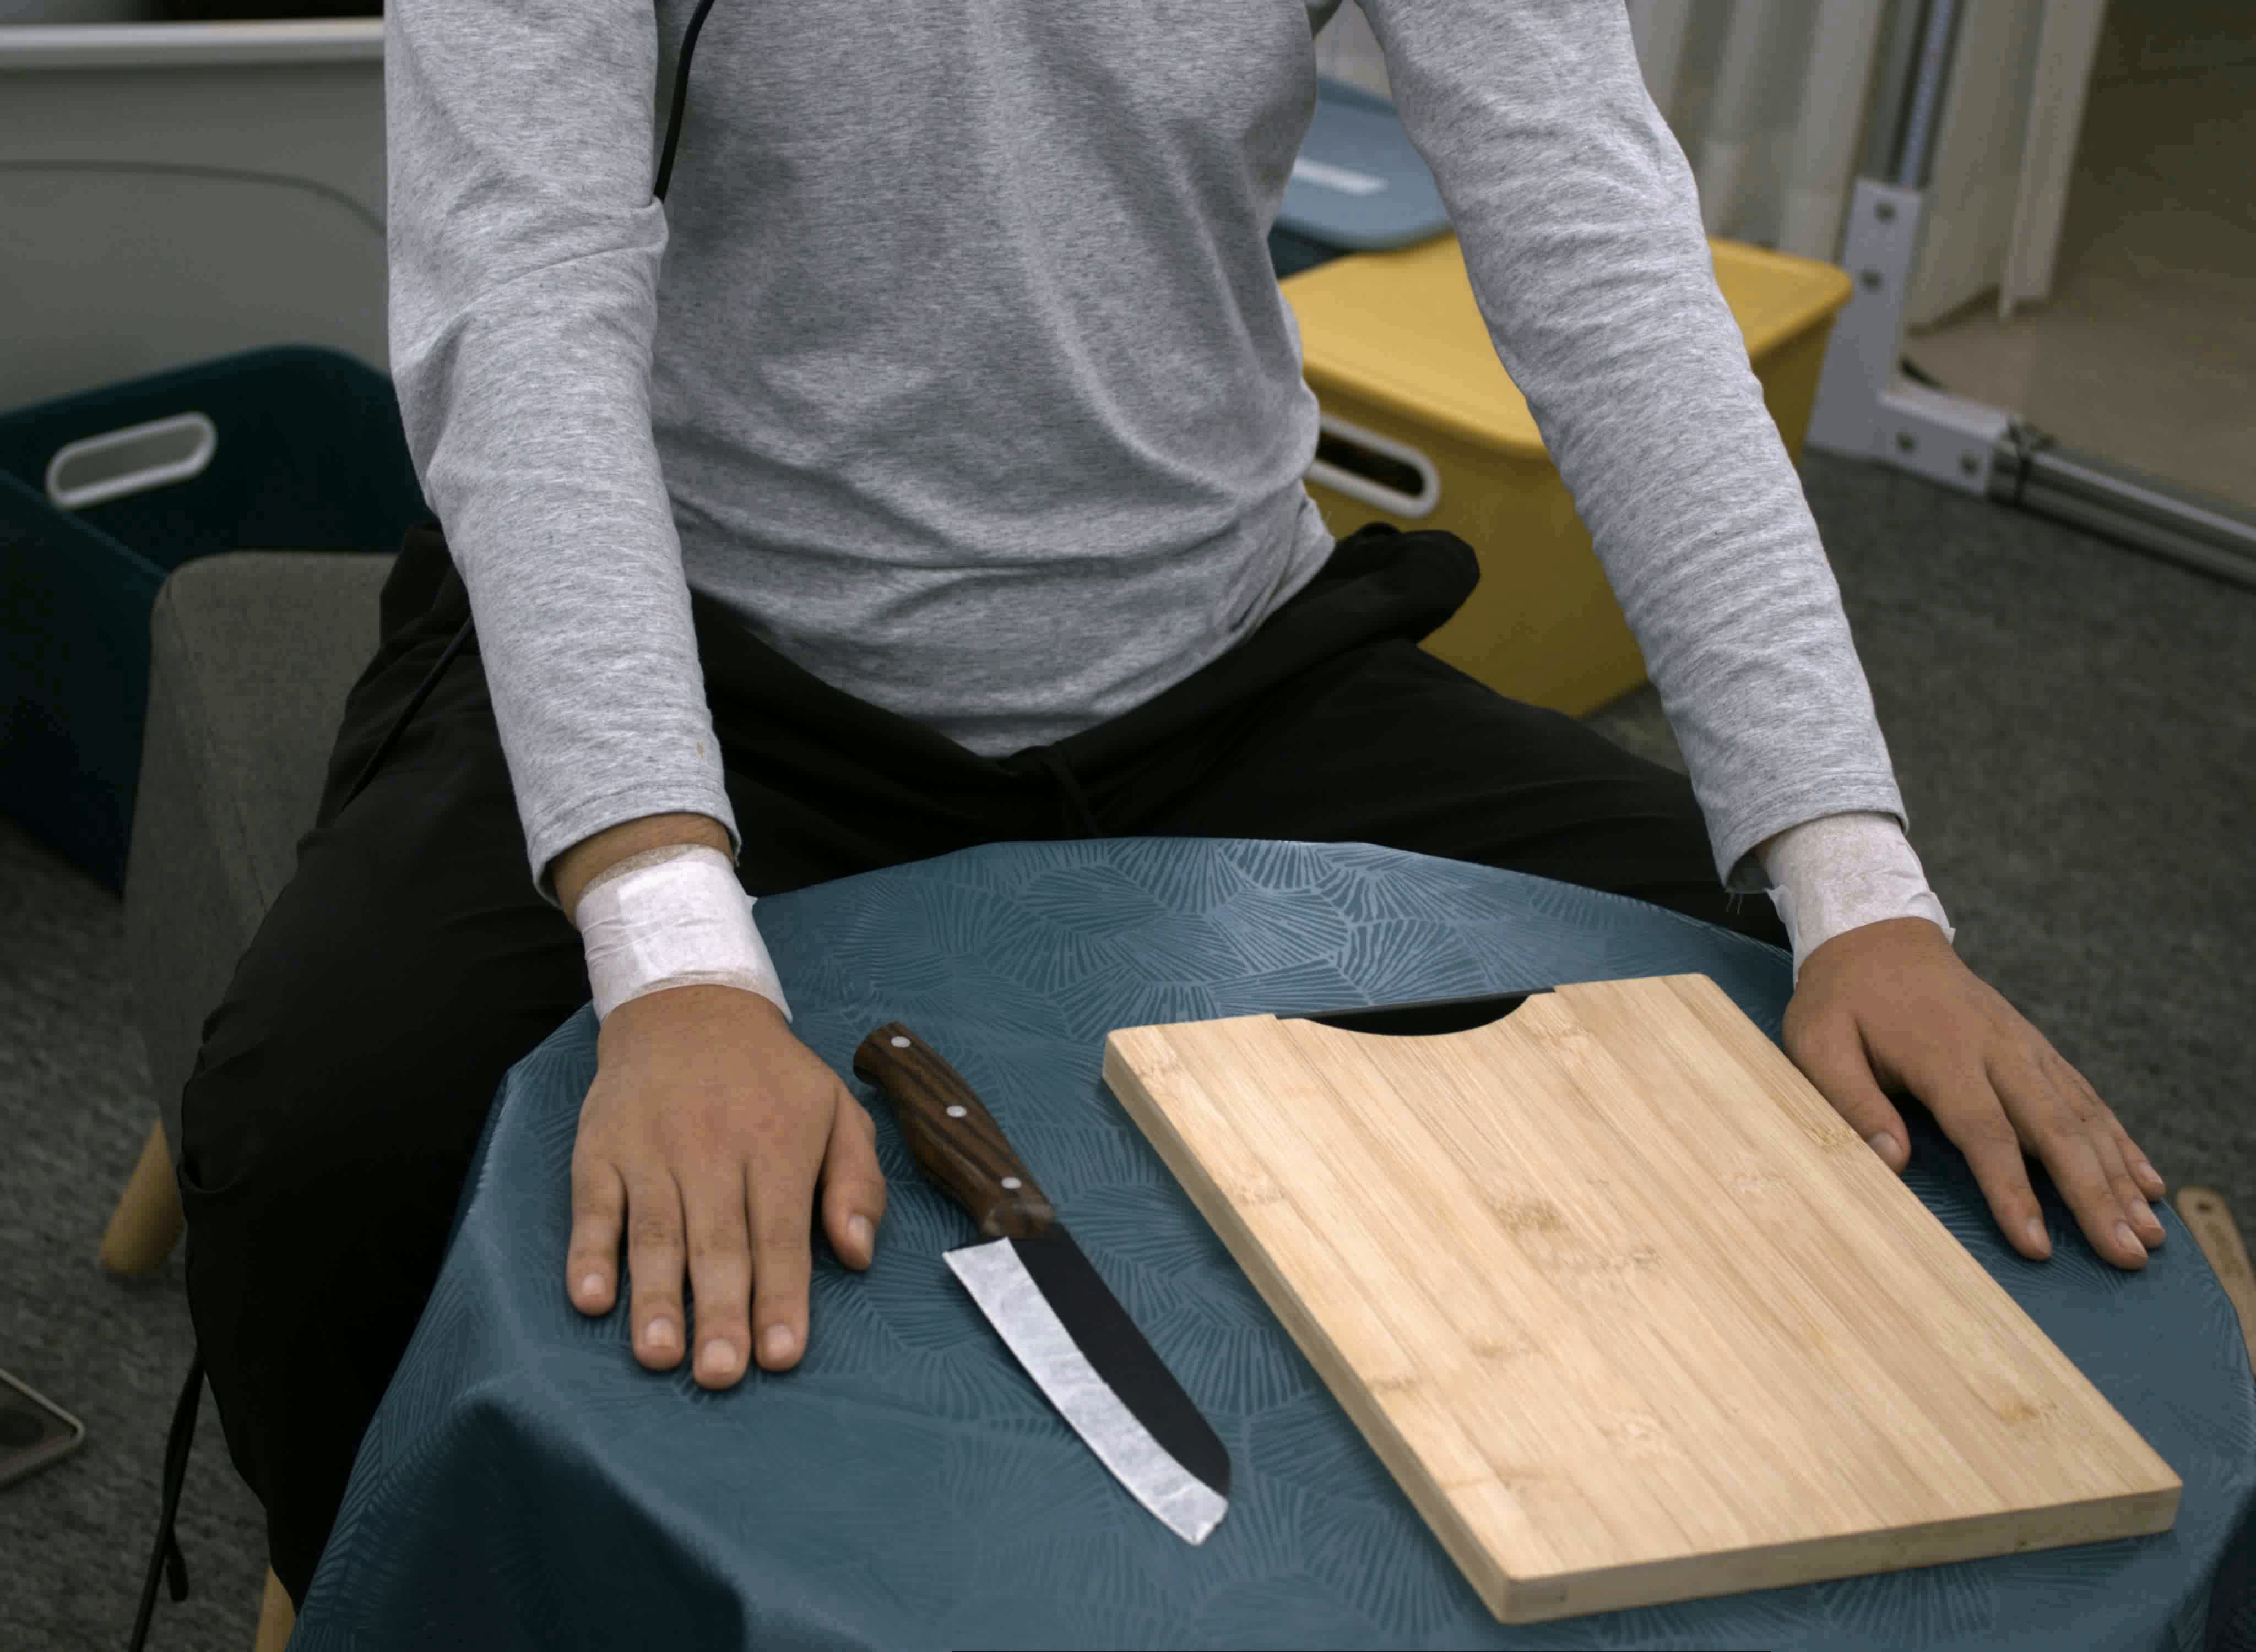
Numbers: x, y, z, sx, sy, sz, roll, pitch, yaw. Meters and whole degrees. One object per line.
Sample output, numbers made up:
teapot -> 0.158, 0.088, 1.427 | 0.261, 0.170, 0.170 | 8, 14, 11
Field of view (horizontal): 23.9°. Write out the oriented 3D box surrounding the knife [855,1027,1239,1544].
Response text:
knife -> -0.030, 0.148, 1.735 | 0.050, 0.020, 0.292 | -10, 33, -20

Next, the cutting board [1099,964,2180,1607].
cutting board -> 0.161, 0.146, 1.781 | 0.249, 0.023, 0.352 | -5, 29, -22
